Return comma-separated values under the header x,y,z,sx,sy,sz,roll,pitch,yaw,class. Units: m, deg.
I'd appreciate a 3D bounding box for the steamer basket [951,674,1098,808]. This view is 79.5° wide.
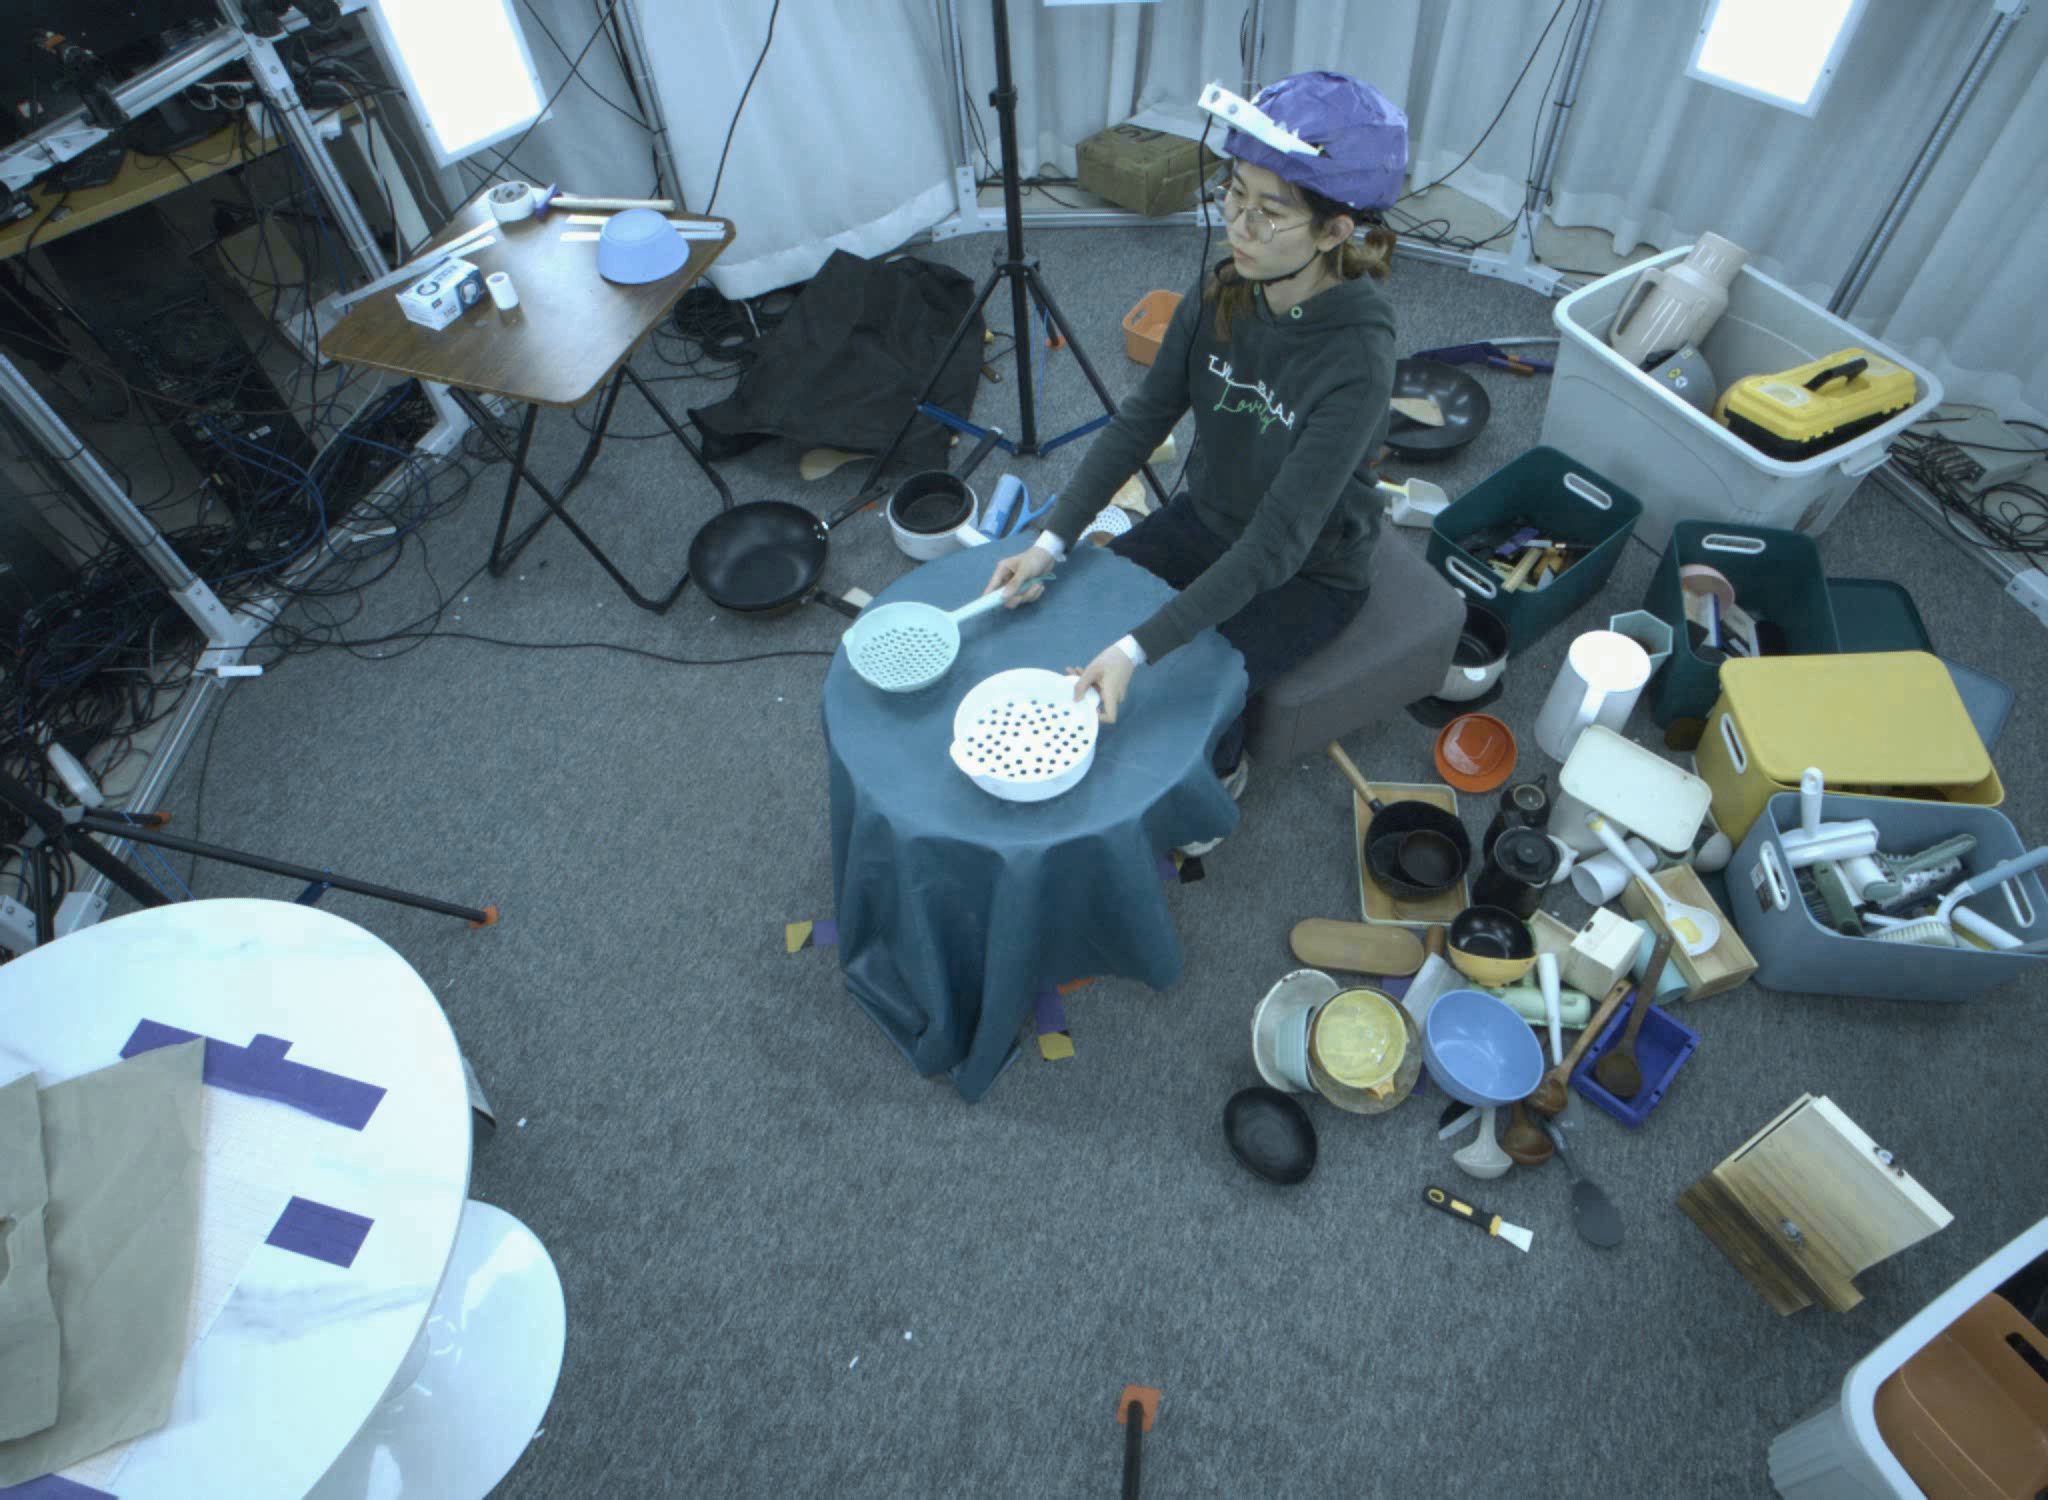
x,y,z,sx,sy,sz,roll,pitch,yaw,class
0.003,-0.011,1.747,0.232,0.070,0.198,-32,61,-21,steamer basket

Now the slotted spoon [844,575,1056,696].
x,y,z,sx,sy,sz,roll,pitch,yaw,class
-0.101,-0.195,1.889,0.361,0.076,0.166,-34,61,-14,slotted spoon
